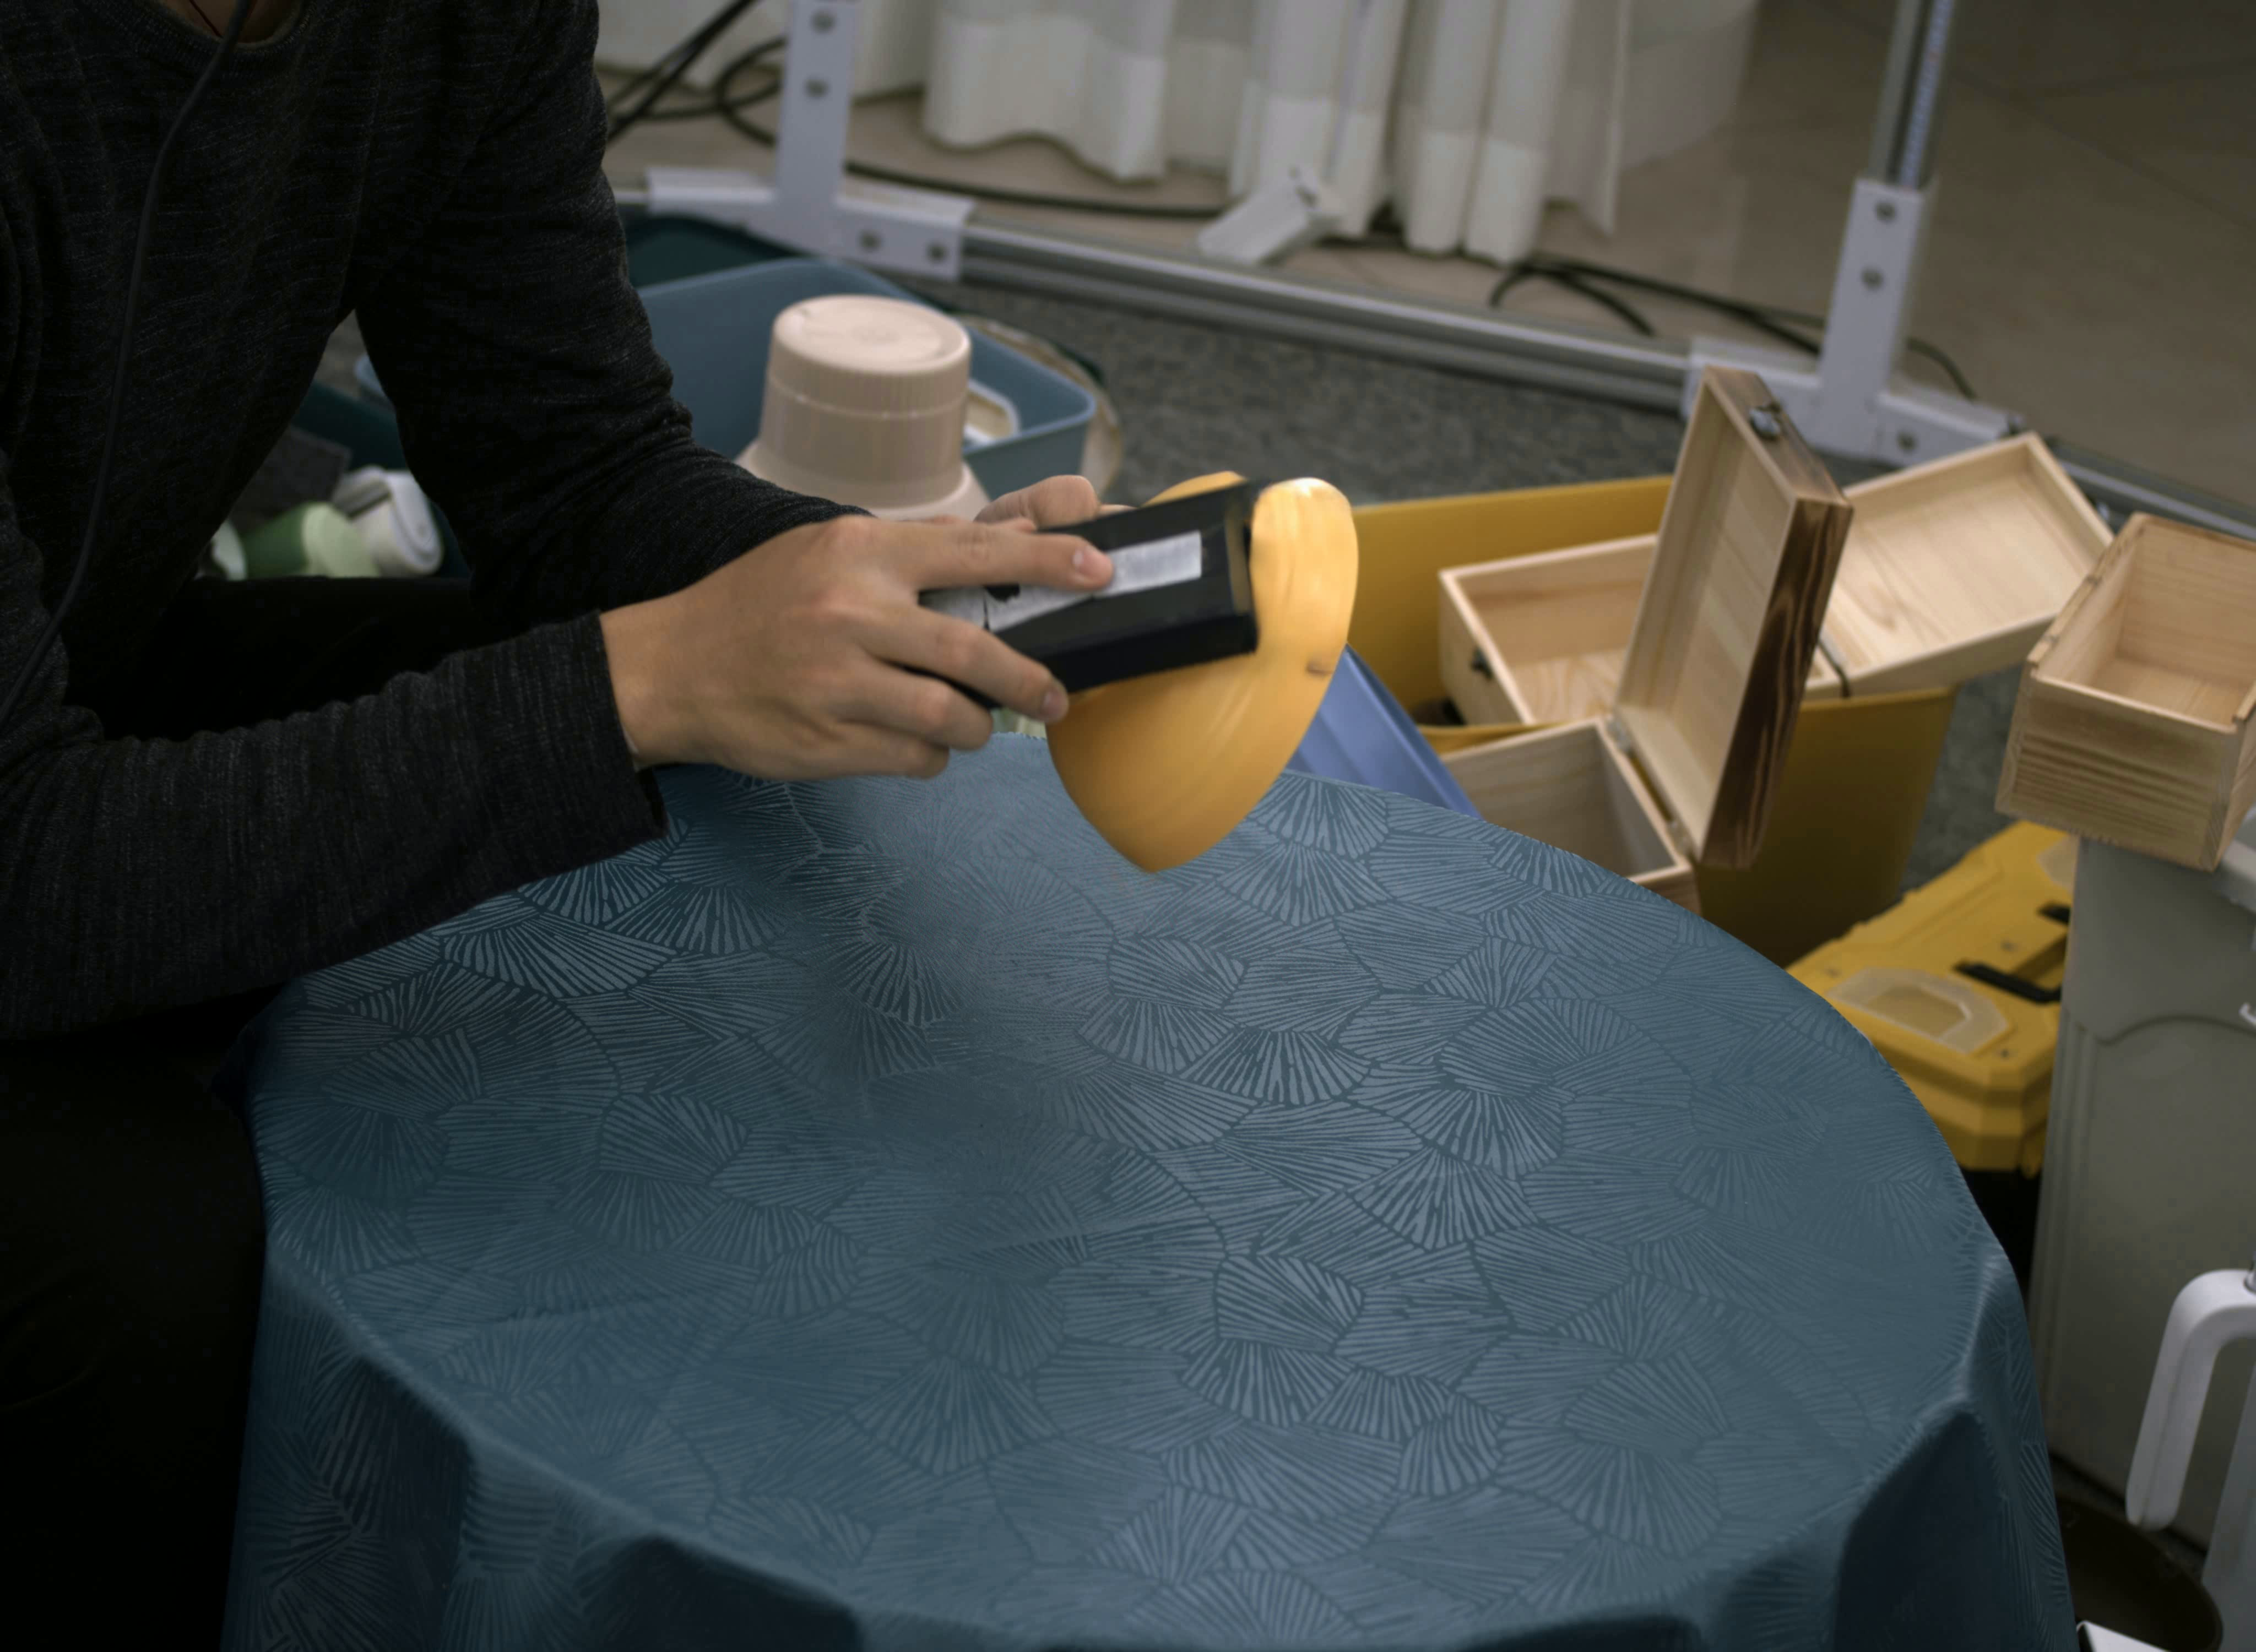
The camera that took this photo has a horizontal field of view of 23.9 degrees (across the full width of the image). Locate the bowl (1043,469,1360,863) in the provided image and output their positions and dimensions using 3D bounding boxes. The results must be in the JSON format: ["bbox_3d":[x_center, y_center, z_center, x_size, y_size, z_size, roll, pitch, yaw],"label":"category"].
[{"bbox_3d":[0.012,-0.064,1.788,0.059,0.145,0.146,29,19,-23],"label":"bowl"}]

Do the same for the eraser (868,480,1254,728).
[{"bbox_3d":[-0.021,-0.073,1.735,0.125,0.030,0.054,-14,55,11],"label":"eraser"}]
